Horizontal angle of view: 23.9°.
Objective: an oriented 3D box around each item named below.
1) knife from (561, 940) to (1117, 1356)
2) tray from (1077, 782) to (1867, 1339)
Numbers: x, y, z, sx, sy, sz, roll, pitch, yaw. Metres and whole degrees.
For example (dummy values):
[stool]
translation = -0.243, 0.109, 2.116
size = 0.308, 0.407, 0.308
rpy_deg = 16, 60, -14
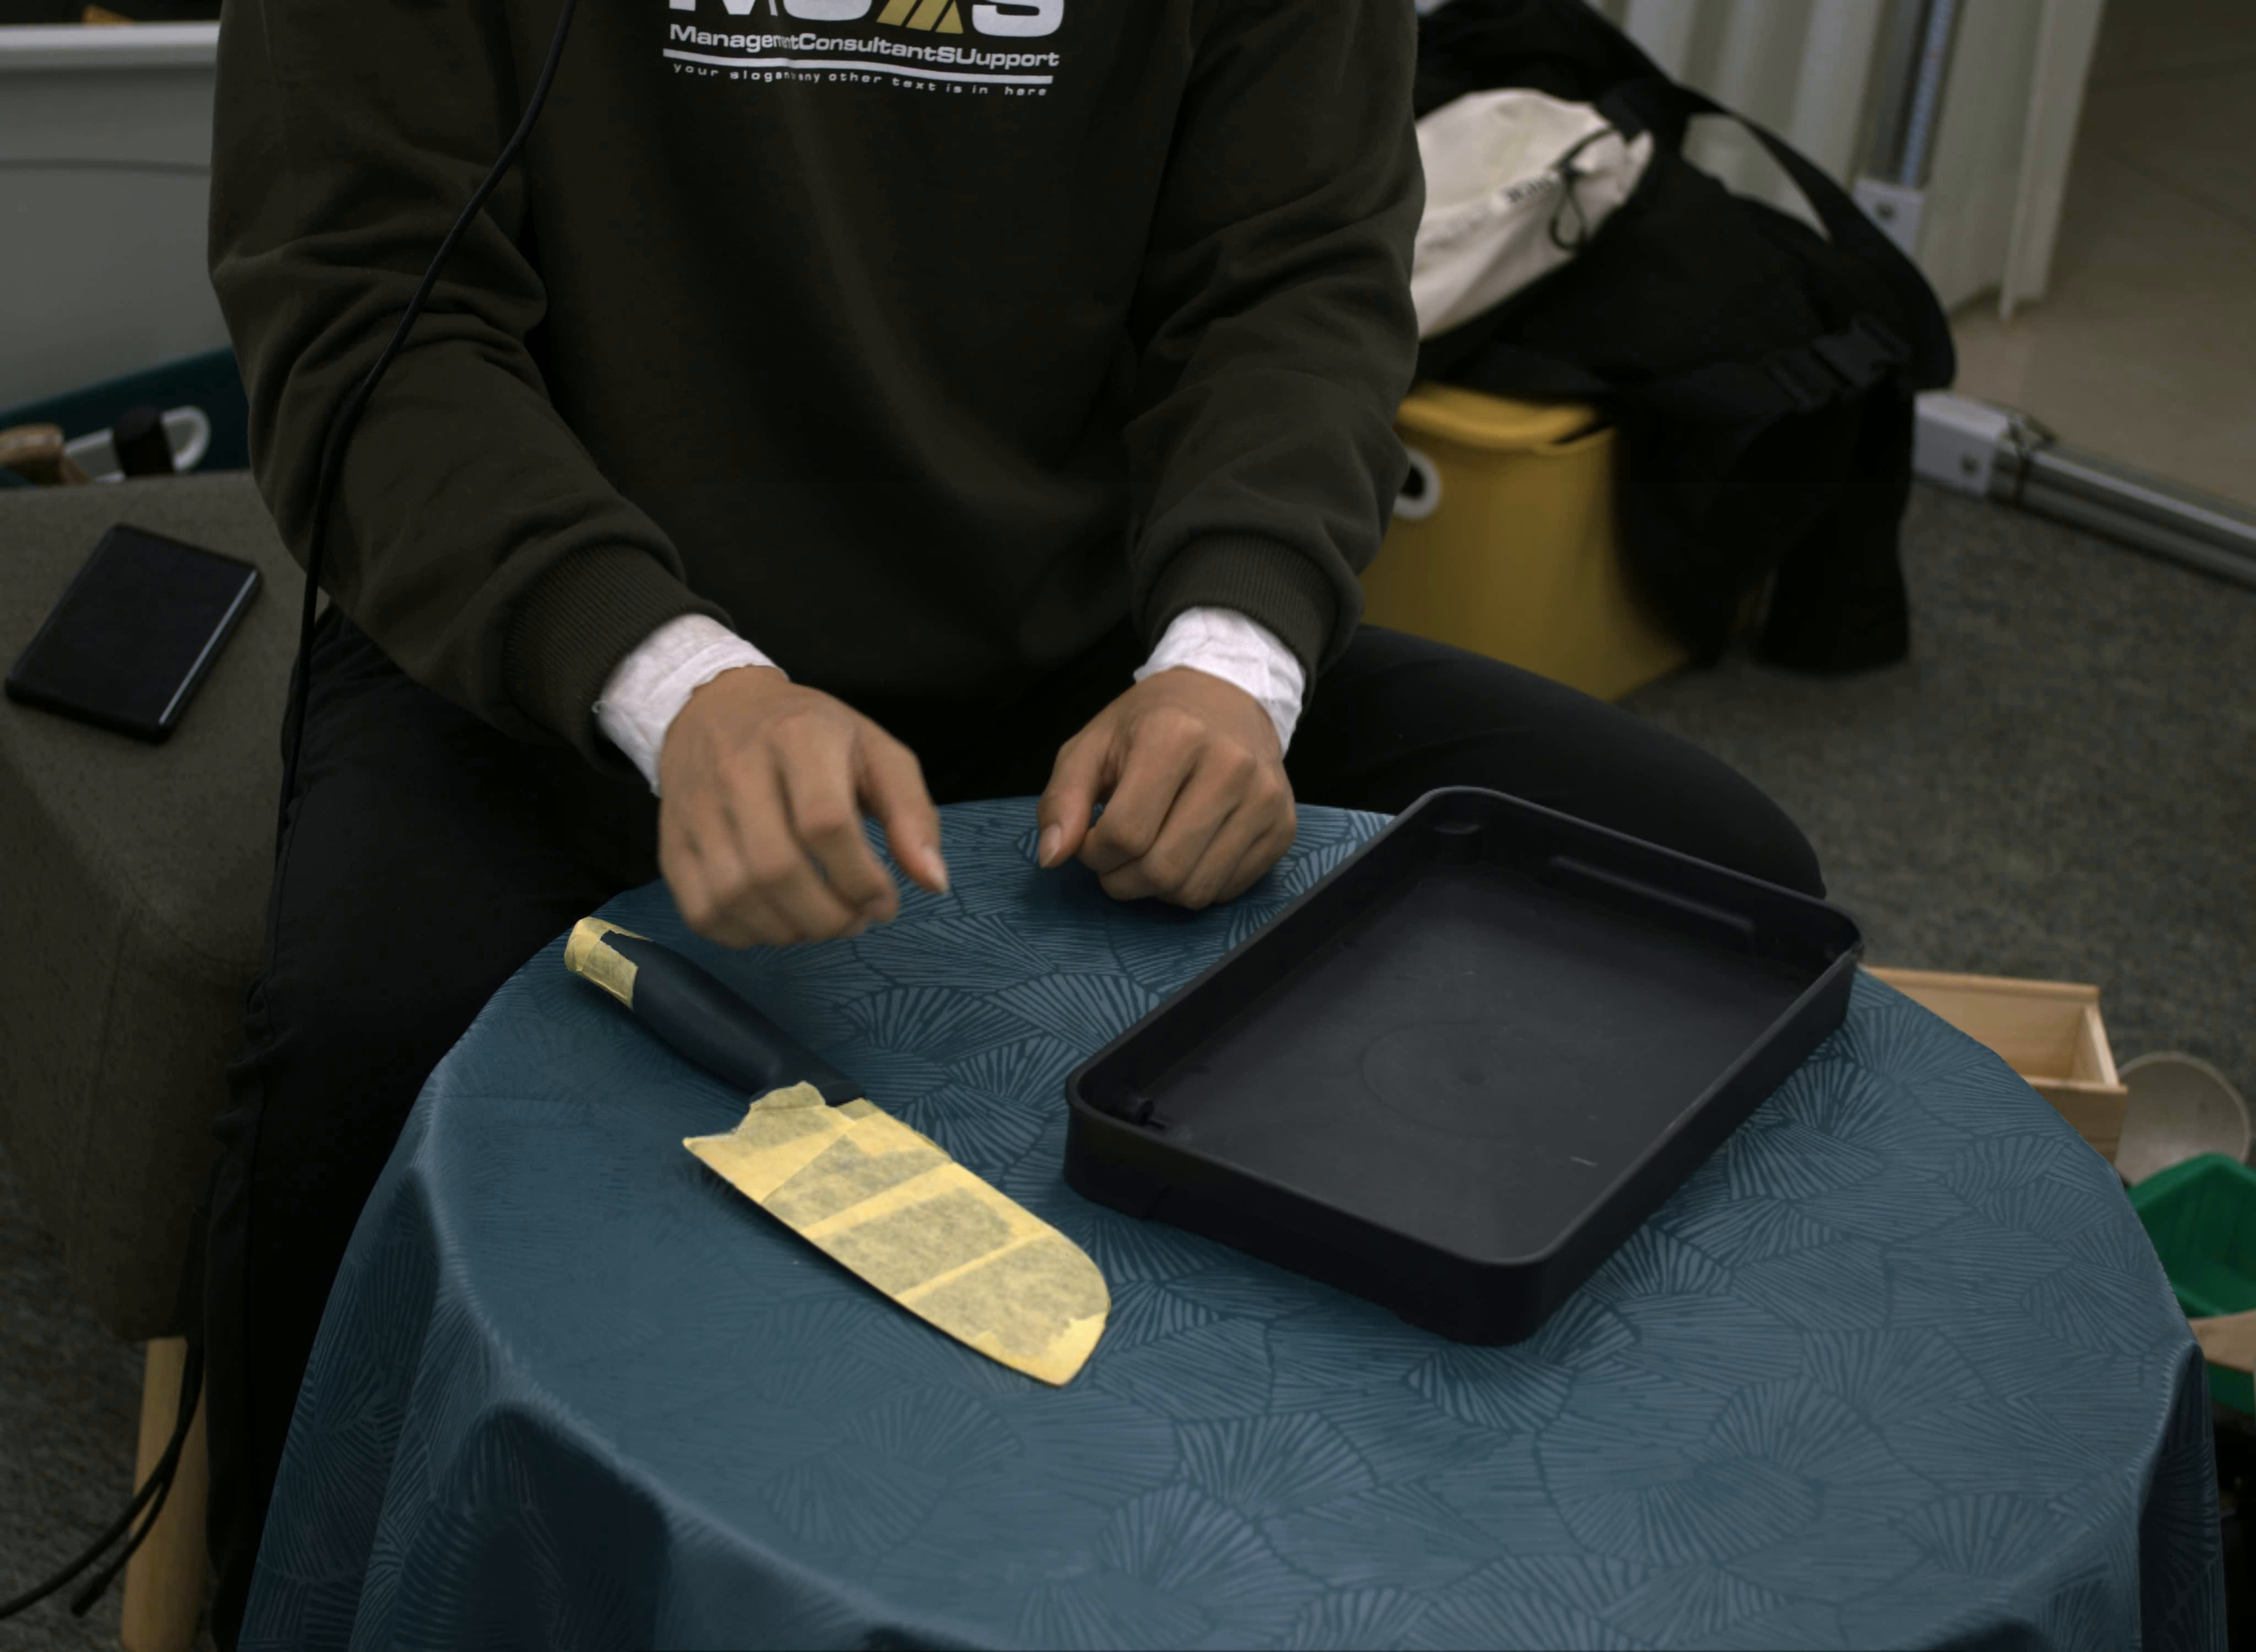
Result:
[knife]
translation = -0.107, 0.109, 1.795
size = 0.080, 0.027, 0.292
rpy_deg = -16, 35, -40
[tray]
translation = 0.127, 0.076, 1.889
size = 0.185, 0.037, 0.317
rpy_deg = 18, 29, 22
